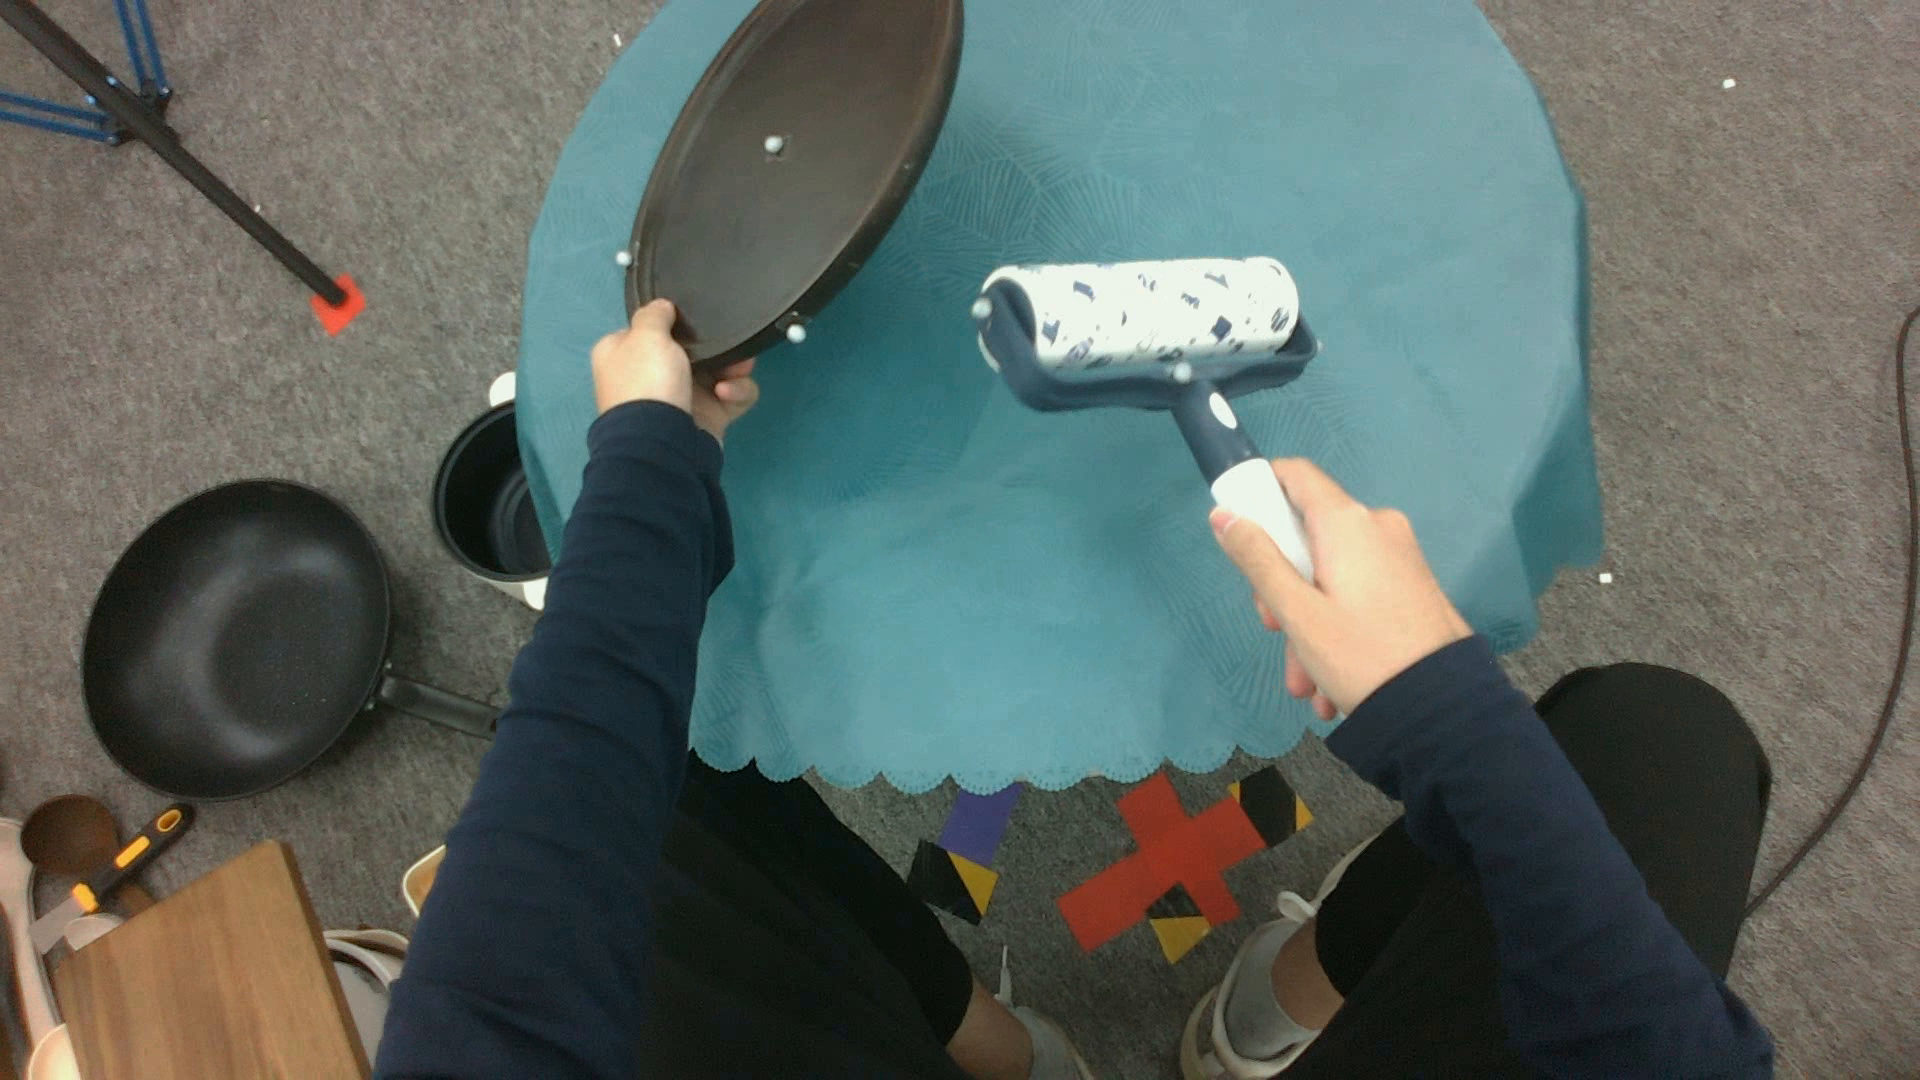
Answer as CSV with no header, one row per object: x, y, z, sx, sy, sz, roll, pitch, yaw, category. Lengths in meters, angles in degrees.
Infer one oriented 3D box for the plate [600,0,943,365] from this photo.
-0.101,-0.204,0.706,0.253,0.029,0.256,-23,54,38,plate

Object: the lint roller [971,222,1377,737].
0.121,-0.034,0.596,0.177,0.050,0.247,-10,66,-39,lint roller
